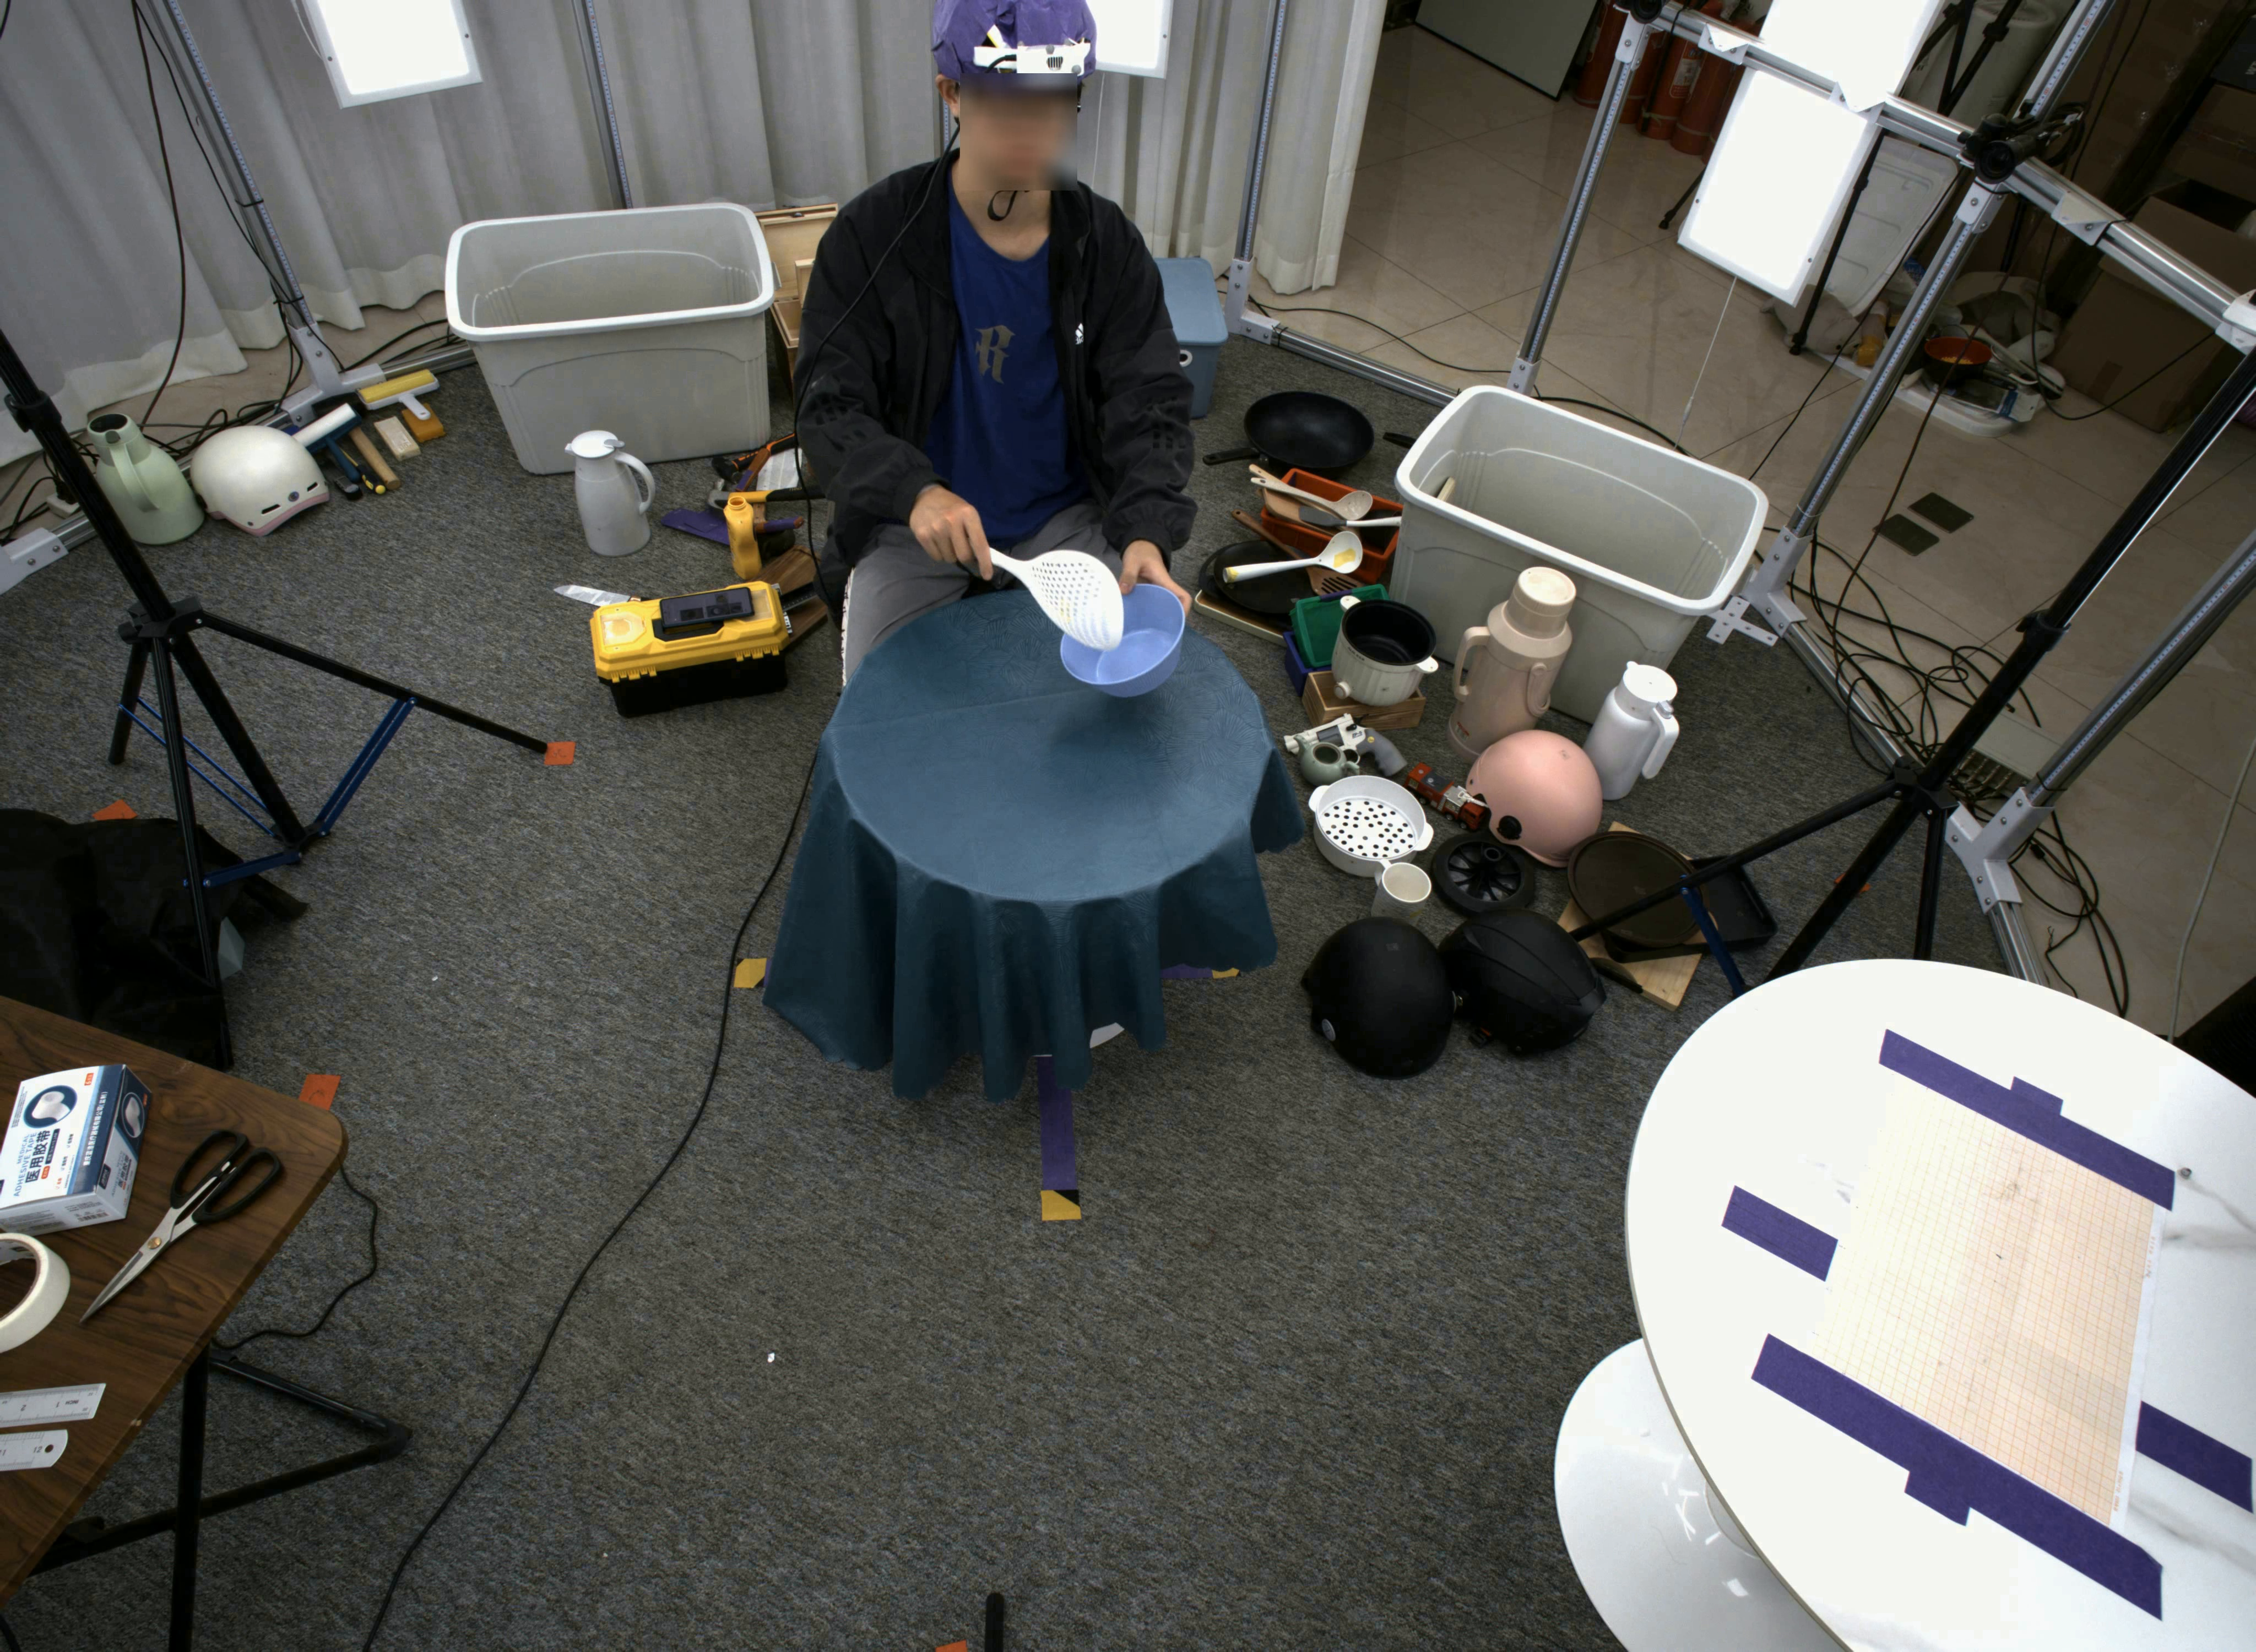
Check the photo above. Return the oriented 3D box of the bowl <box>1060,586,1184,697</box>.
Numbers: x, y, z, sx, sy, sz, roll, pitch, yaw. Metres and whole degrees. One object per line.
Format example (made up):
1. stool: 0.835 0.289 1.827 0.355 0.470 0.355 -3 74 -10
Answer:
1. bowl: 0.002 -0.239 1.734 0.176 0.068 0.180 -13 50 16

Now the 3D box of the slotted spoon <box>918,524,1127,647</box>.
1. slotted spoon: -0.143 -0.333 1.696 0.353 0.133 0.051 32 53 32
